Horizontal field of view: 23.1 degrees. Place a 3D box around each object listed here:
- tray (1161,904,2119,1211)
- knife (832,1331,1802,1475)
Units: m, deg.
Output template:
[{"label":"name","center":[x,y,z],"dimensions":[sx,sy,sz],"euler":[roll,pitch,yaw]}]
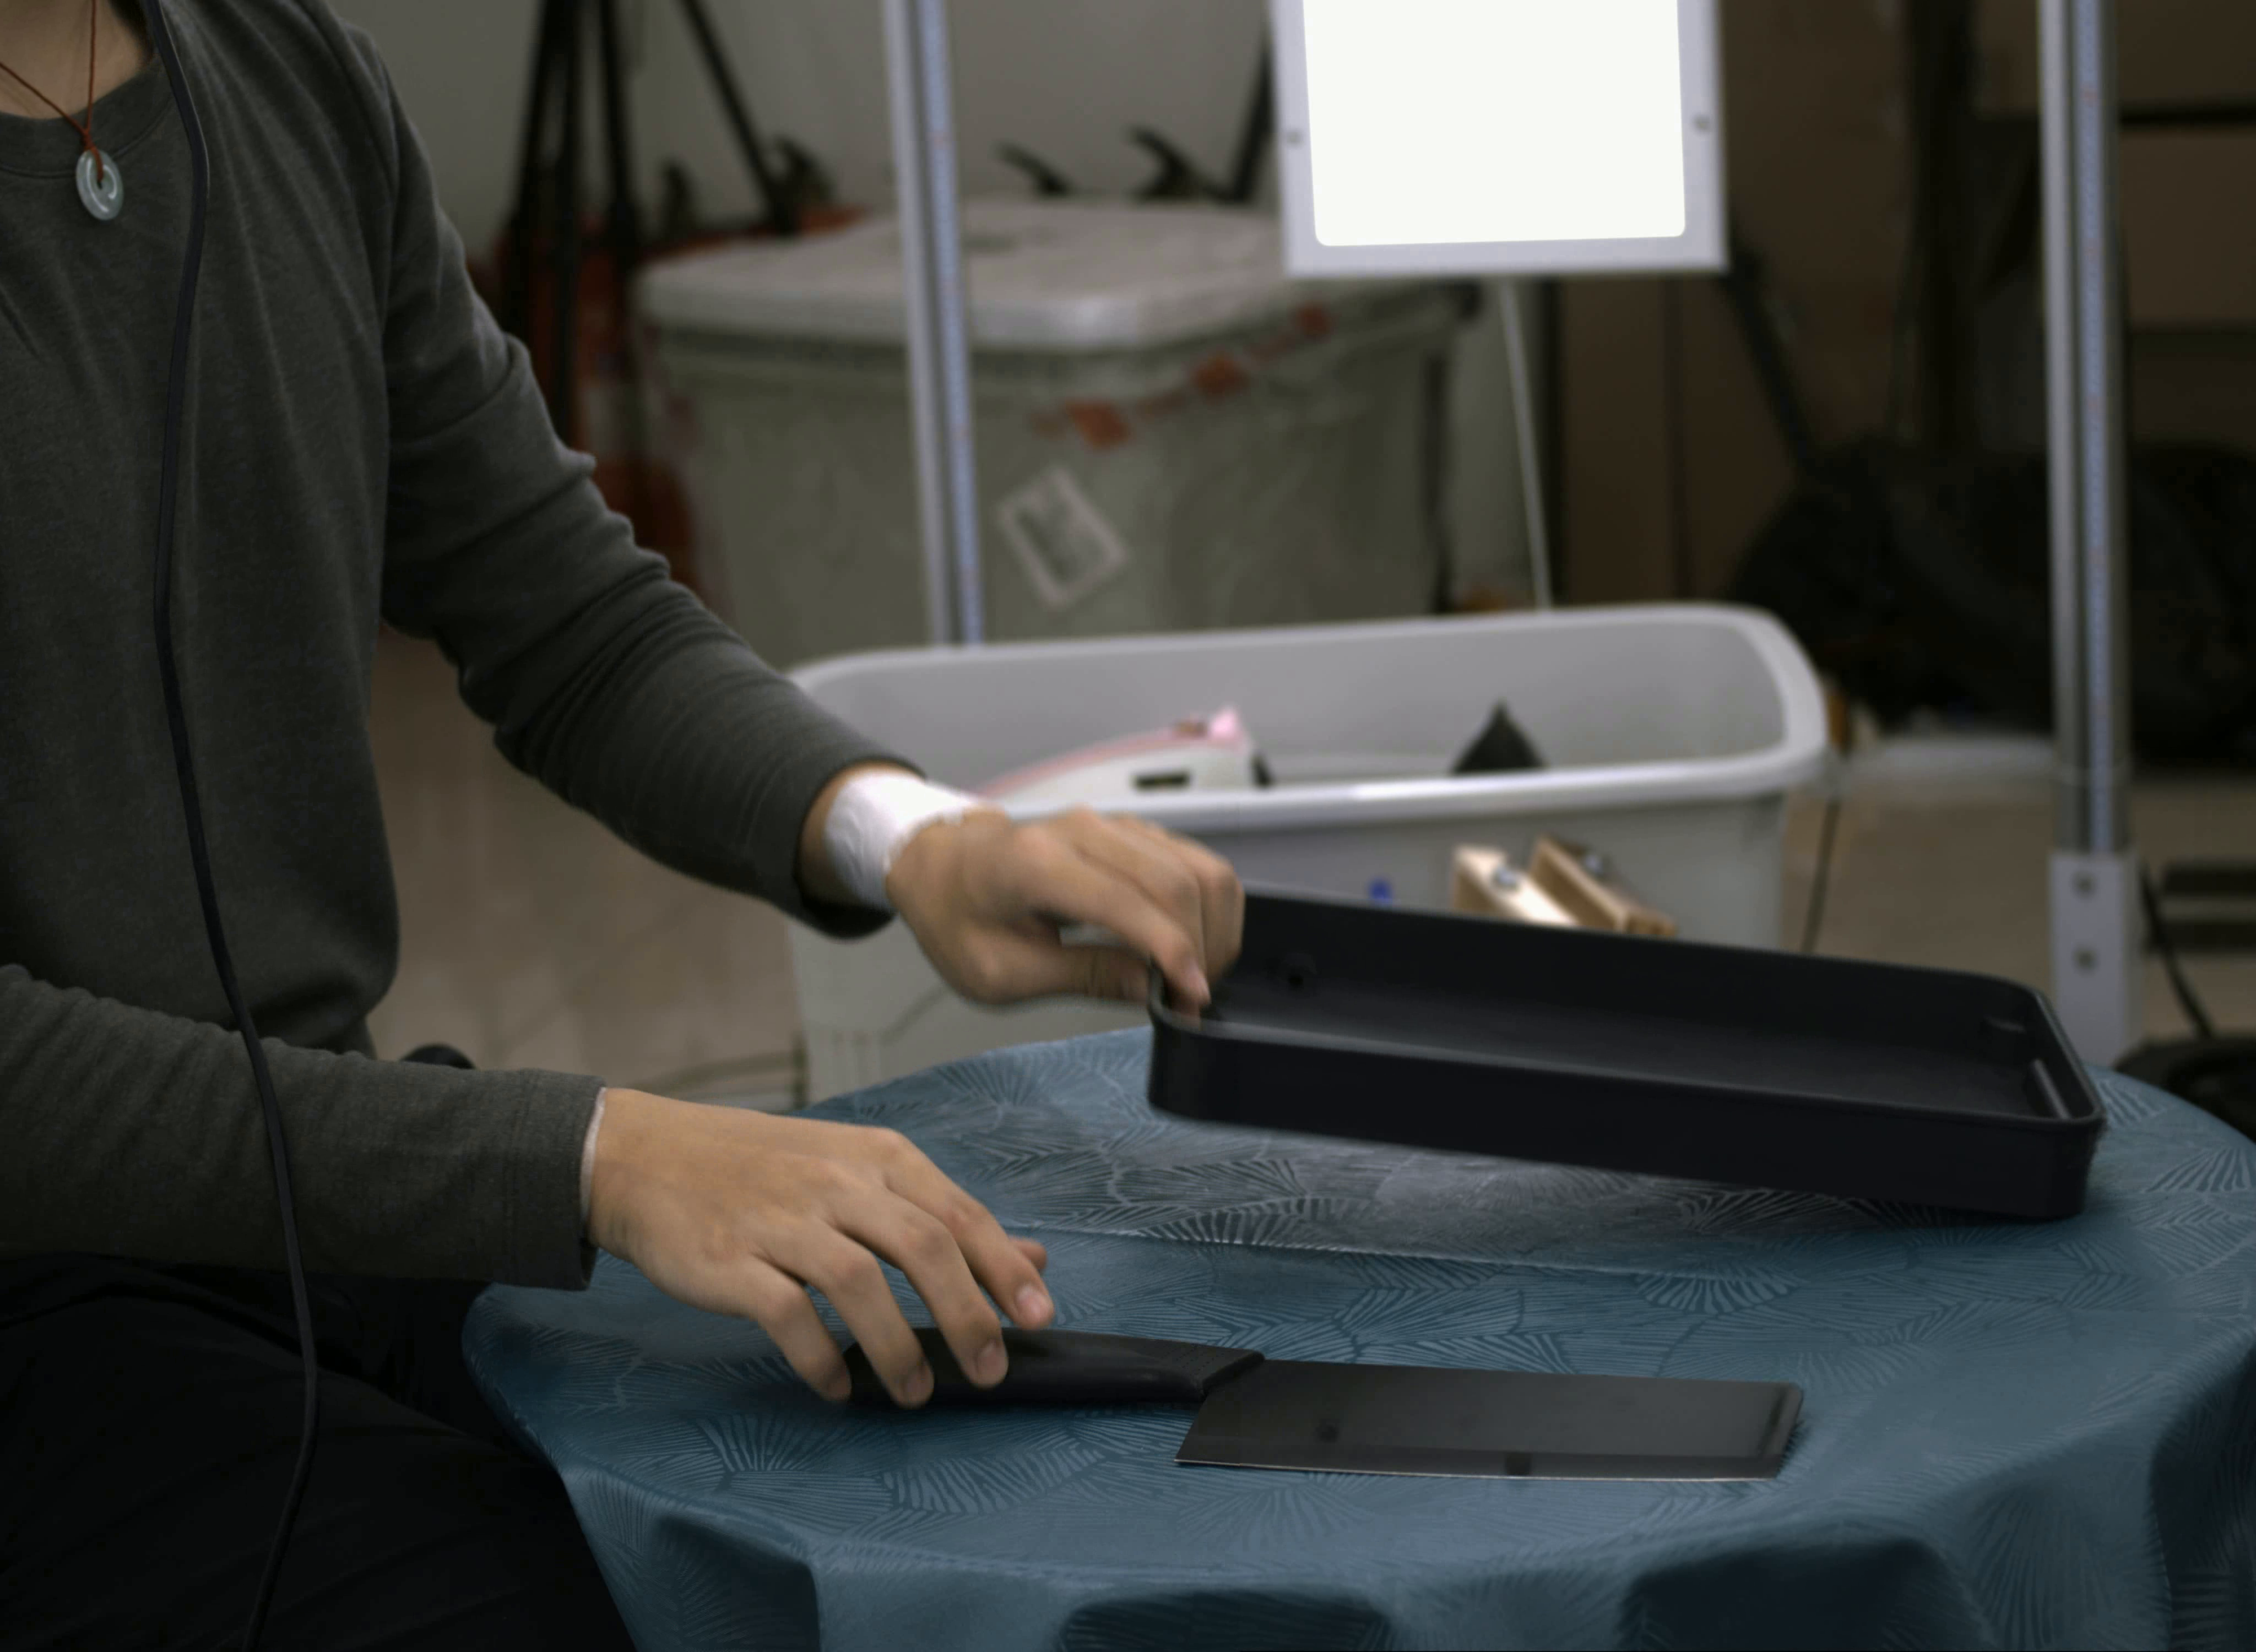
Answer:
[{"label":"tray","center":[0.170,0.077,1.864],"dimensions":[0.317,0.037,0.184],"euler":[4,14,-1]},{"label":"knife","center":[0.053,0.175,1.657],"dimensions":[0.307,0.021,0.079],"euler":[2,21,23]}]
